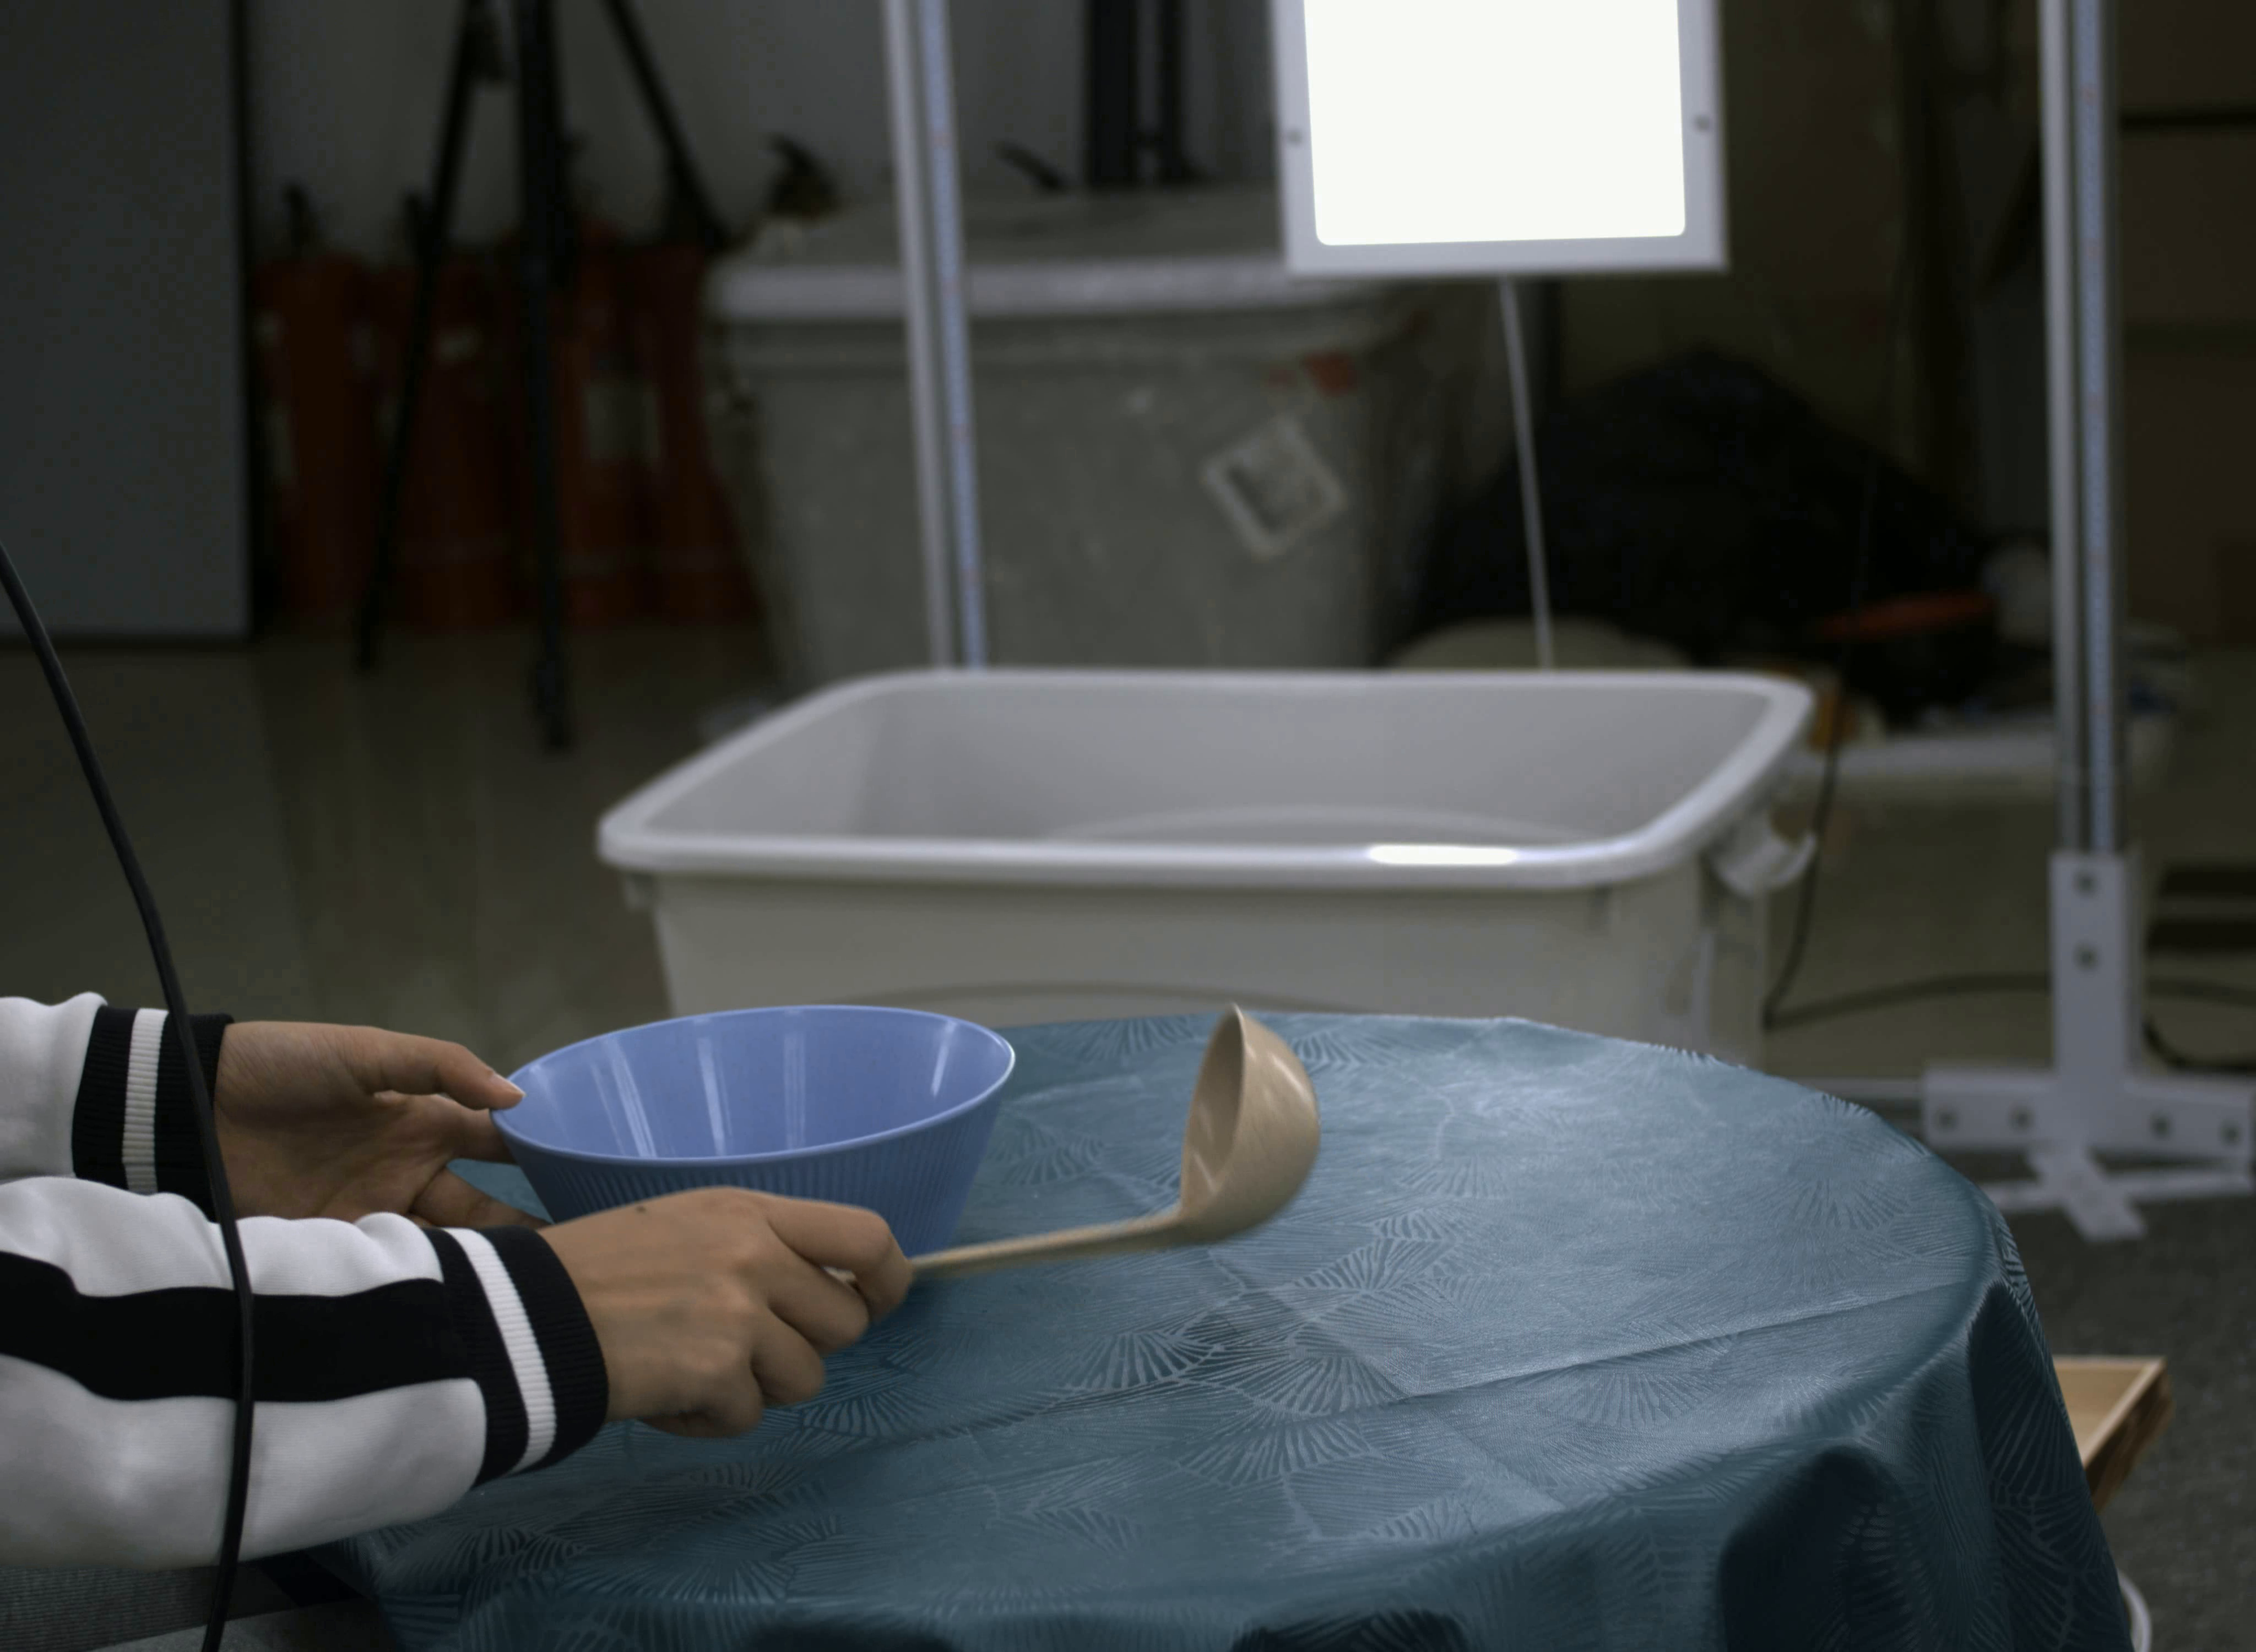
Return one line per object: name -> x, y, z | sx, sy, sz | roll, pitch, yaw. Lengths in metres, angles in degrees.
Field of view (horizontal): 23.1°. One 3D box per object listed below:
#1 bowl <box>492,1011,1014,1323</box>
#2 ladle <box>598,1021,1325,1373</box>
bowl -> -0.122, 0.116, 1.839 | 0.175, 0.070, 0.176 | -5, 13, 0
ladle -> -0.057, 0.112, 1.687 | 0.249, 0.073, 0.073 | -9, 59, -25
